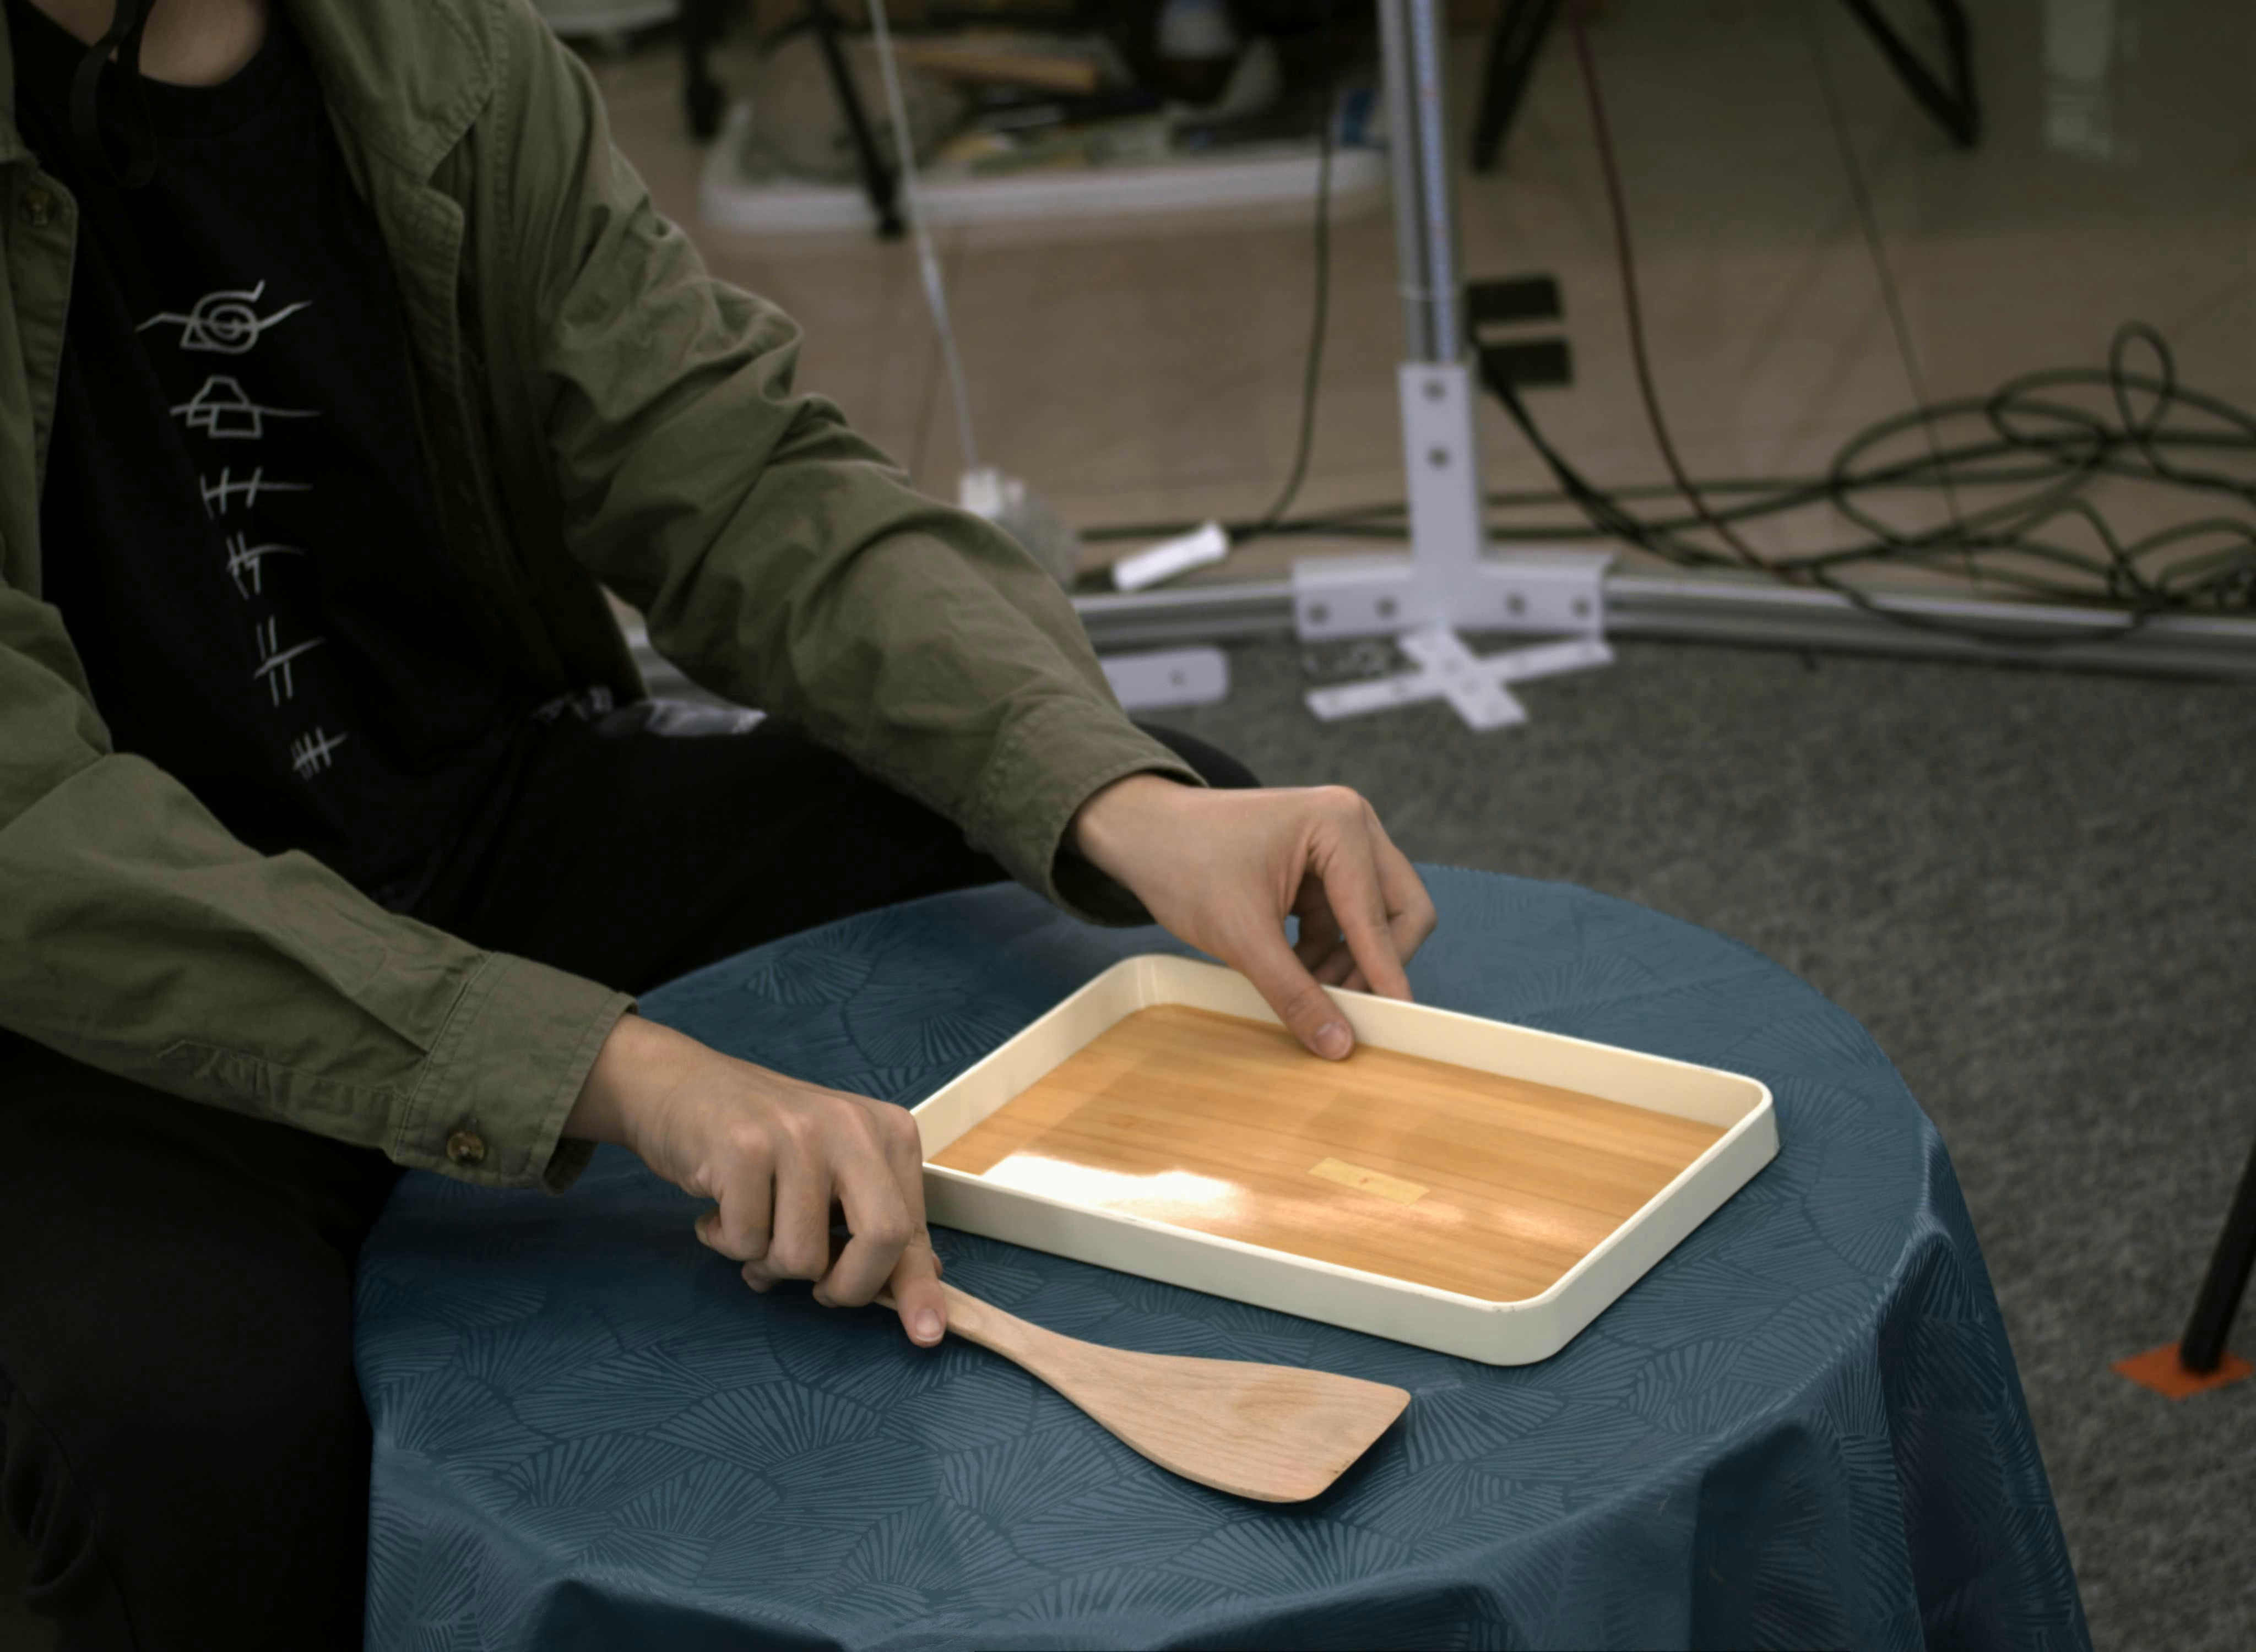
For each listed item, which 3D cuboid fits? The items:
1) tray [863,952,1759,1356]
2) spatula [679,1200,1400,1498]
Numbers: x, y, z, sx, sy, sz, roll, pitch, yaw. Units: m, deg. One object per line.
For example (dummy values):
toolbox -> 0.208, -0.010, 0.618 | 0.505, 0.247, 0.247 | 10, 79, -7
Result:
tray -> 0.068, 0.120, 2.142 | 0.298, 0.028, 0.189 | 11, 30, 35
spatula -> -0.041, 0.181, 2.050 | 0.325, 0.017, 0.079 | 17, 34, 37
